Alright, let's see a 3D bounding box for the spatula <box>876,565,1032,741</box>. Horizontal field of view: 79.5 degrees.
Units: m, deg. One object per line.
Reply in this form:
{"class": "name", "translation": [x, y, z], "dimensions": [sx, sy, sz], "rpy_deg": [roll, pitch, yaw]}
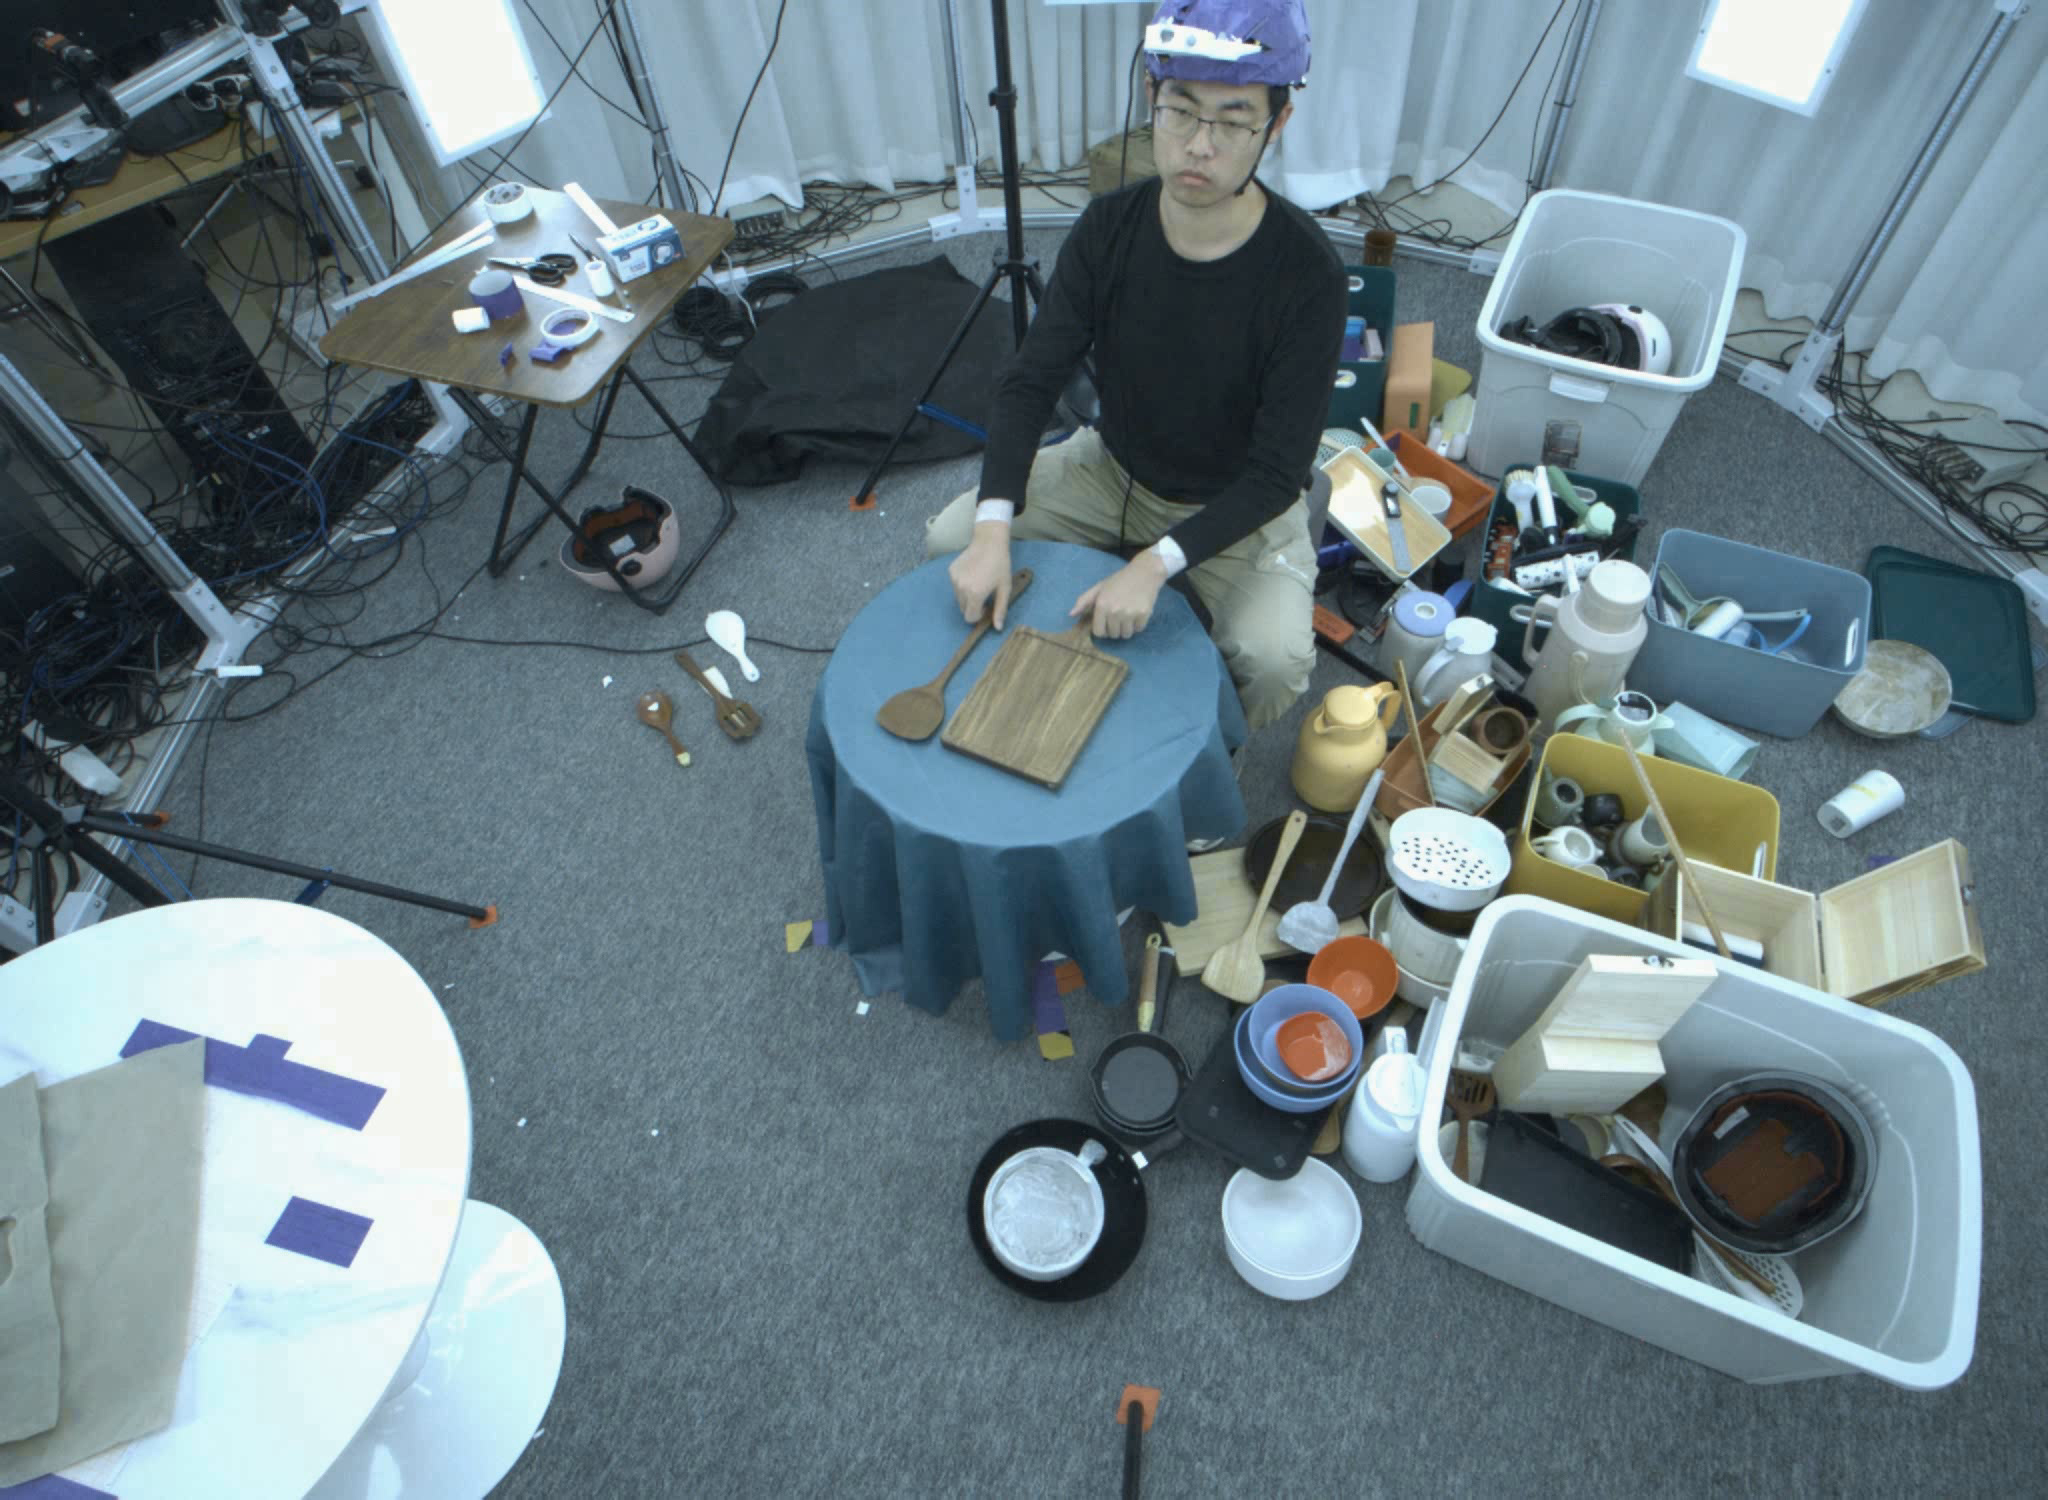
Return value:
{"class": "spatula", "translation": [-0.091, -0.160, 1.893], "dimensions": [0.095, 0.016, 0.387], "rpy_deg": [25, 60, 18]}

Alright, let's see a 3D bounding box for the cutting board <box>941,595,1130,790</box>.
{"class": "cutting board", "translation": [0.042, -0.106, 1.849], "dimensions": [0.198, 0.023, 0.352], "rpy_deg": [22, 58, 16]}
